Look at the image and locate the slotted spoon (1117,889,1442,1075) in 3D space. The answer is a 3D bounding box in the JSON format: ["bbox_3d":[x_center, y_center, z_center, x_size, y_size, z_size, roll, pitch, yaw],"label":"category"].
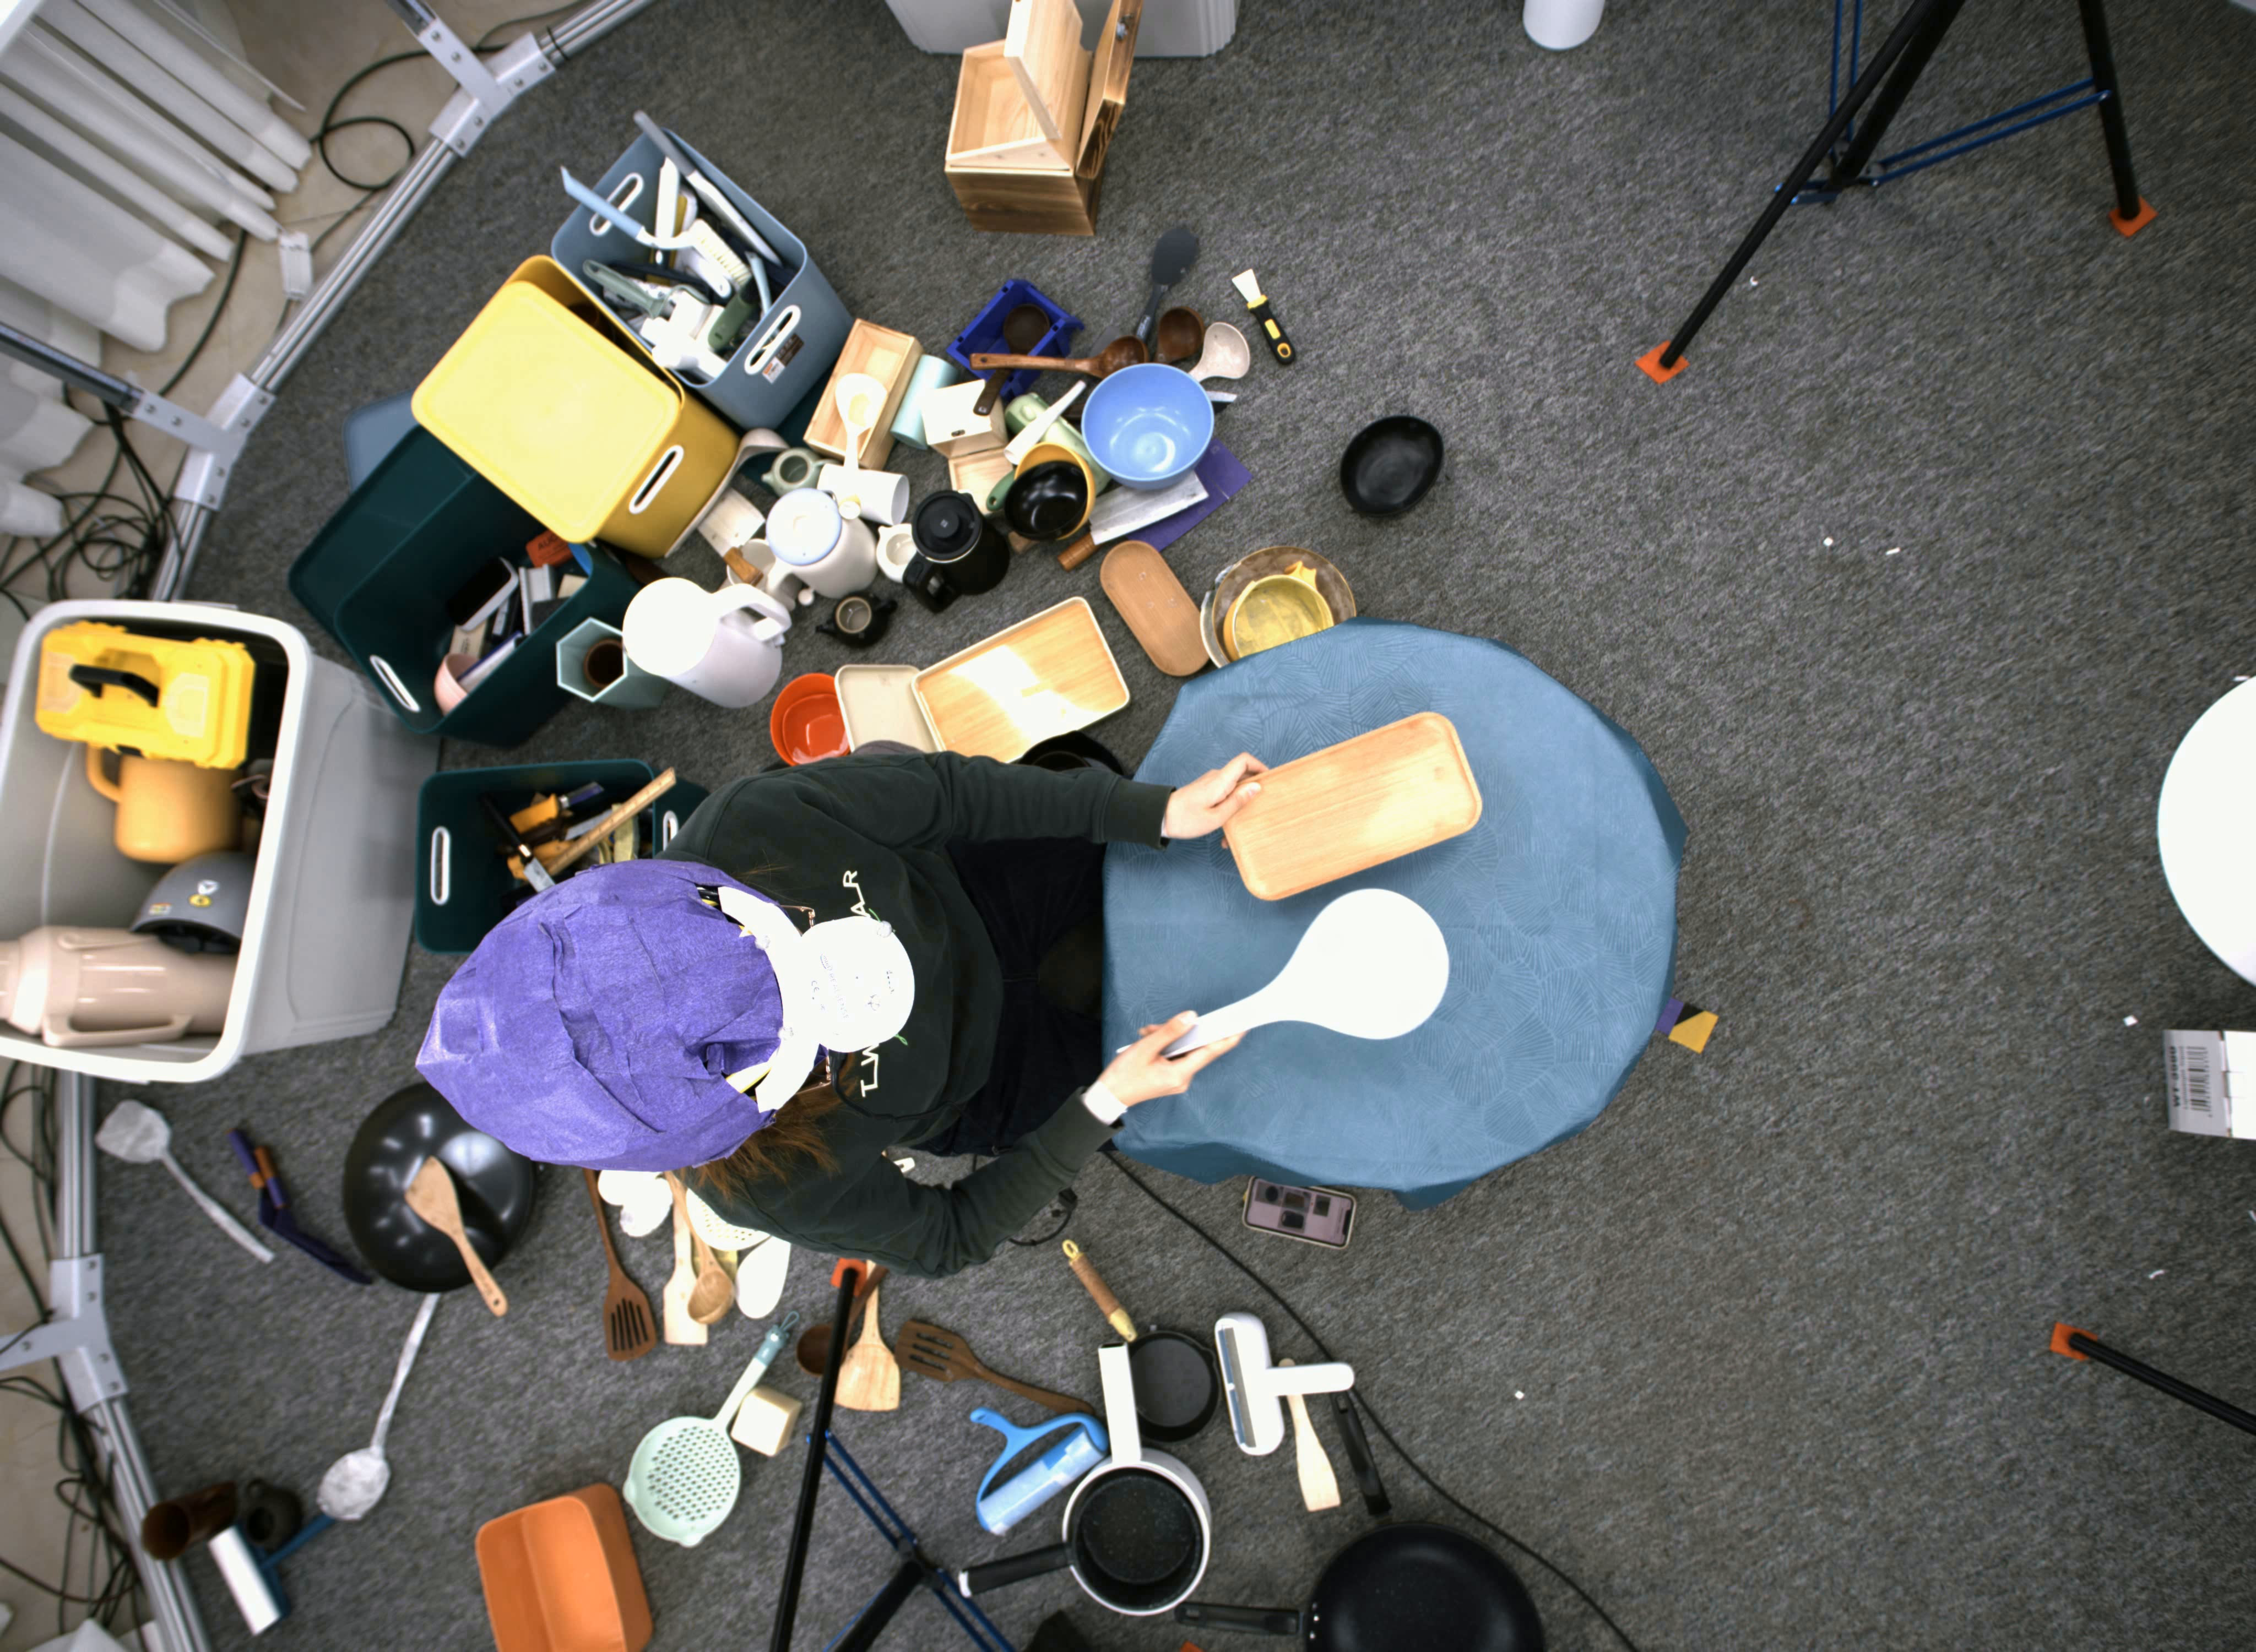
[{"bbox_3d":[0.140,0.171,1.345,0.354,0.046,0.134,-24,71,19],"label":"slotted spoon"}]

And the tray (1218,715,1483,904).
[{"bbox_3d":[0.221,-0.016,1.383,0.253,0.022,0.131,-20,94,14],"label":"tray"}]
